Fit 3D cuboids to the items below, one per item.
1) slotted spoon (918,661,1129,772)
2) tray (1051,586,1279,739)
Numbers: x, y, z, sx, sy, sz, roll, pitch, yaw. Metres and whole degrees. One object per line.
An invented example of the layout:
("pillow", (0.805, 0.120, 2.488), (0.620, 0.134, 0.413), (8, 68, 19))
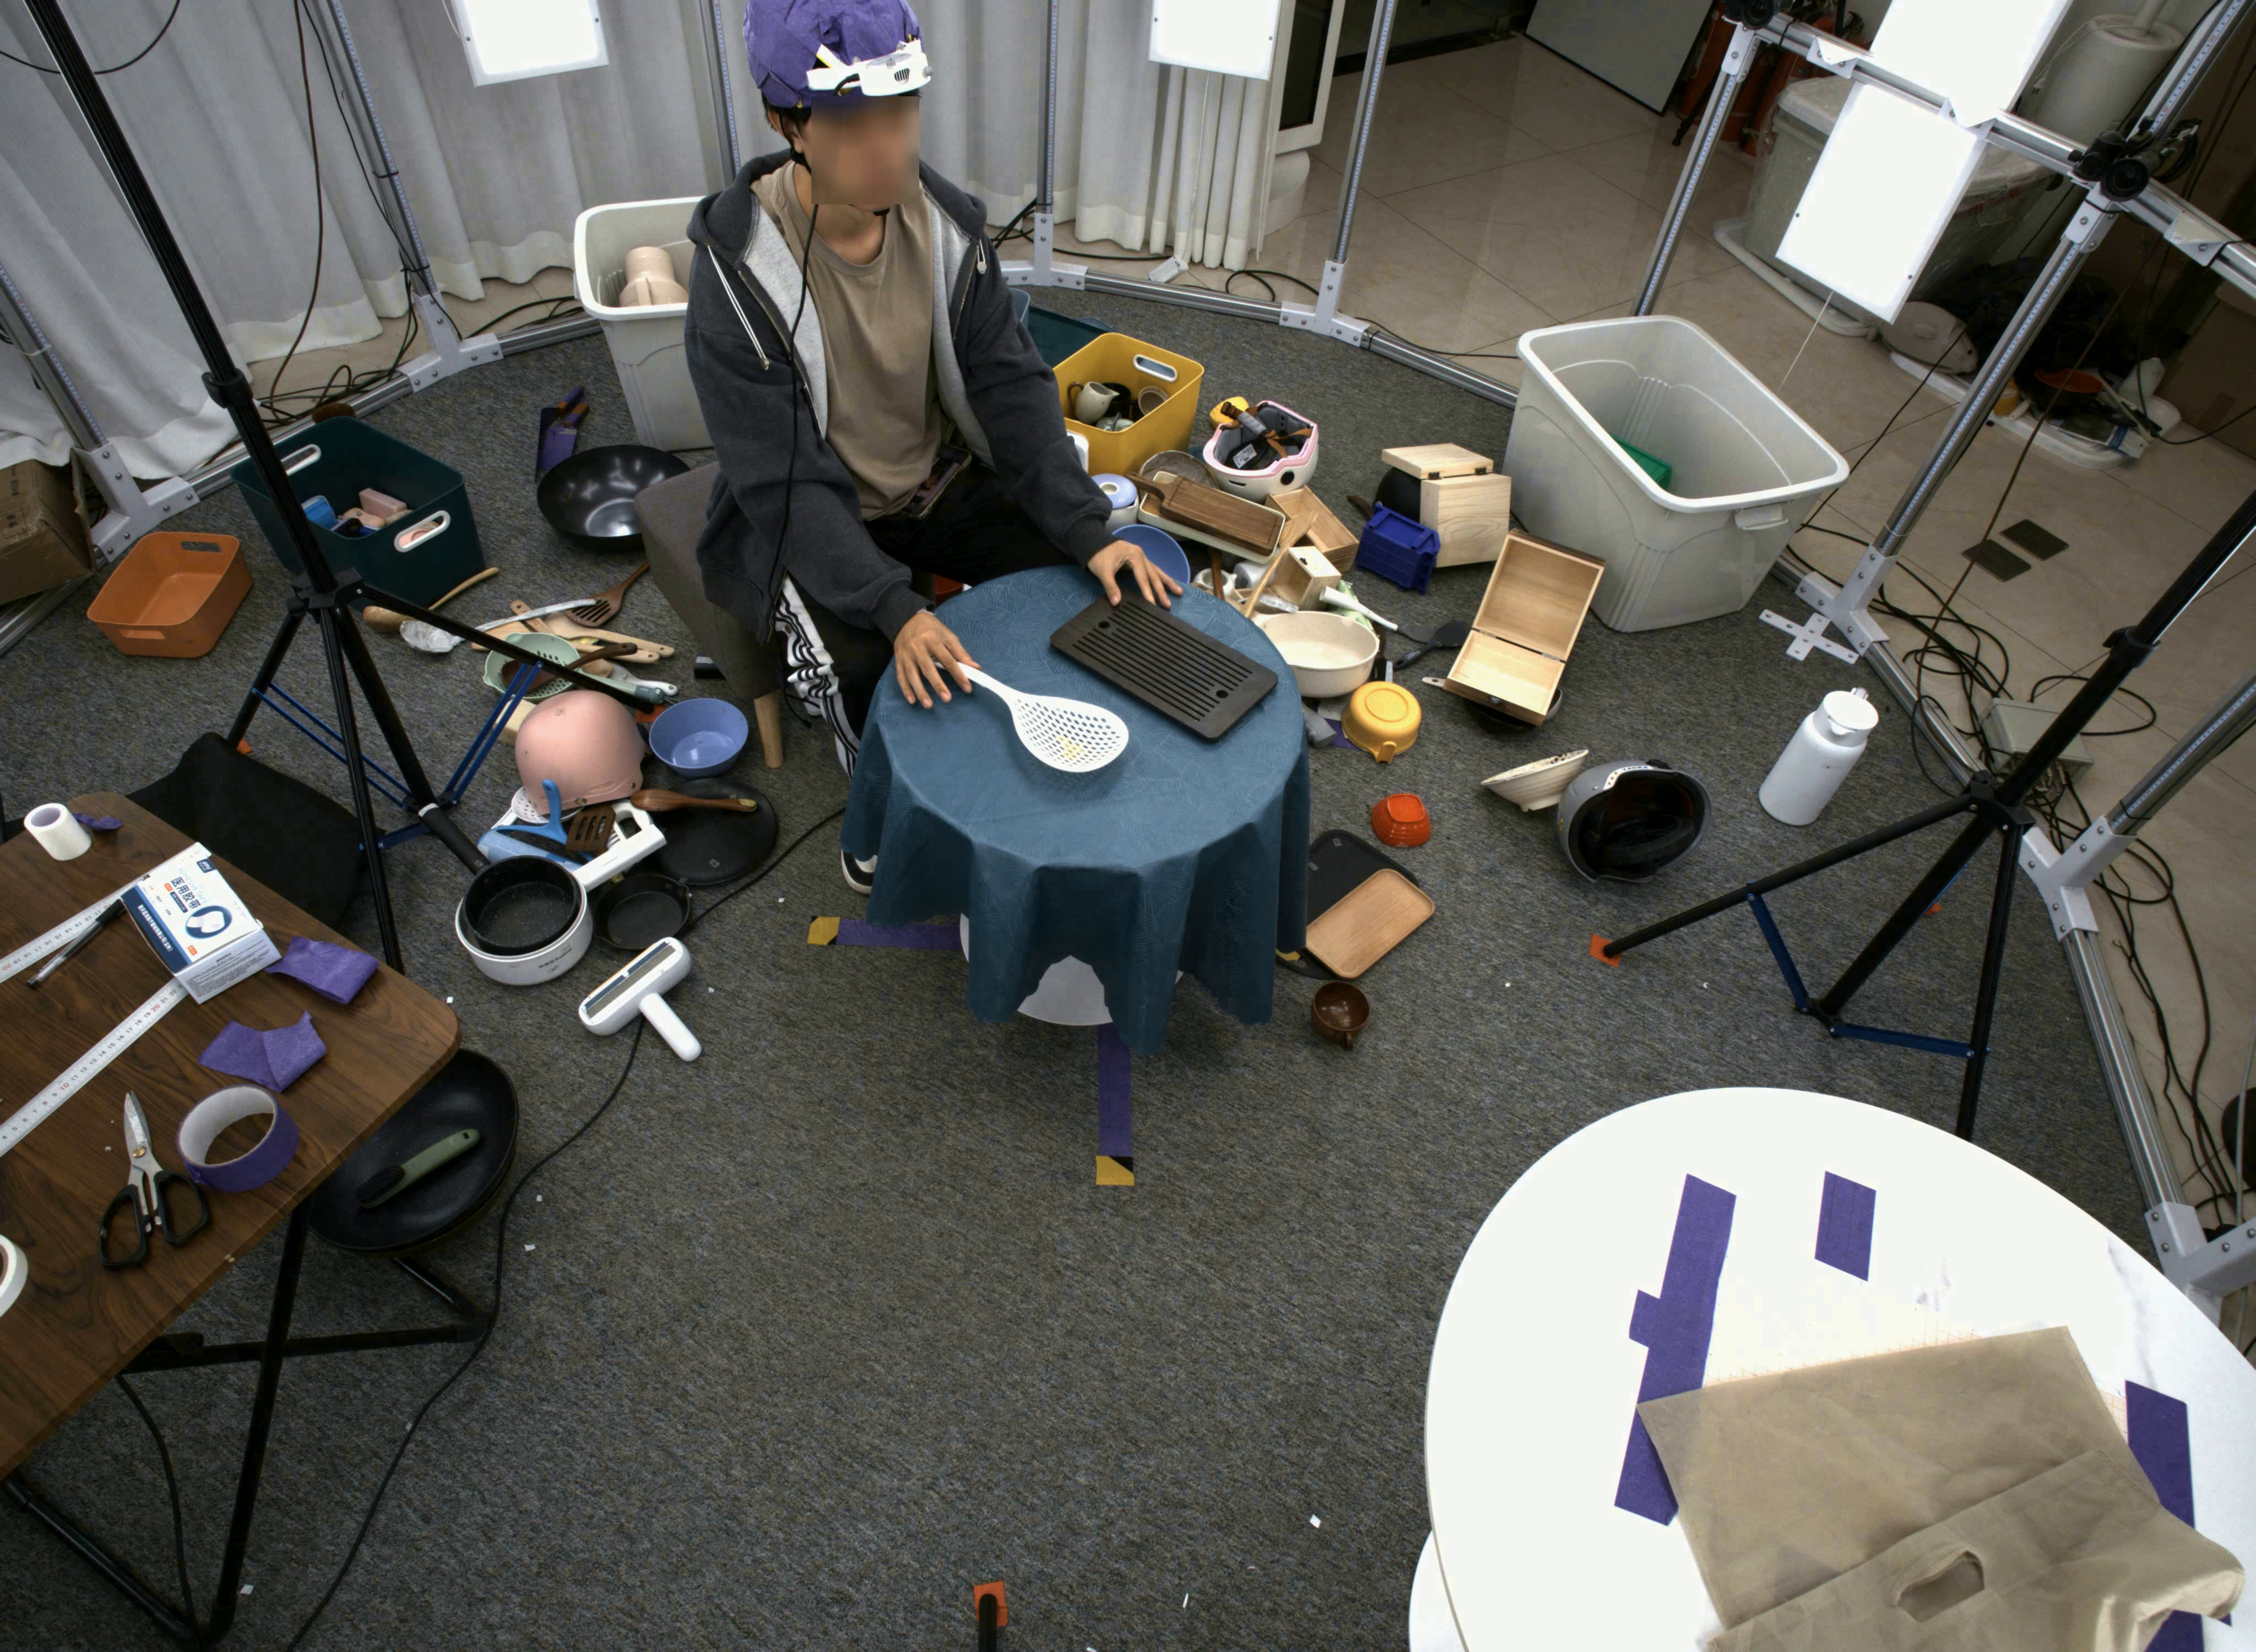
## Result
("slotted spoon", (-0.156, -0.166, 1.773), (0.352, 0.049, 0.138), (33, 54, 22))
("tray", (0.053, -0.241, 1.867), (0.309, 0.018, 0.172), (33, 54, 23))
